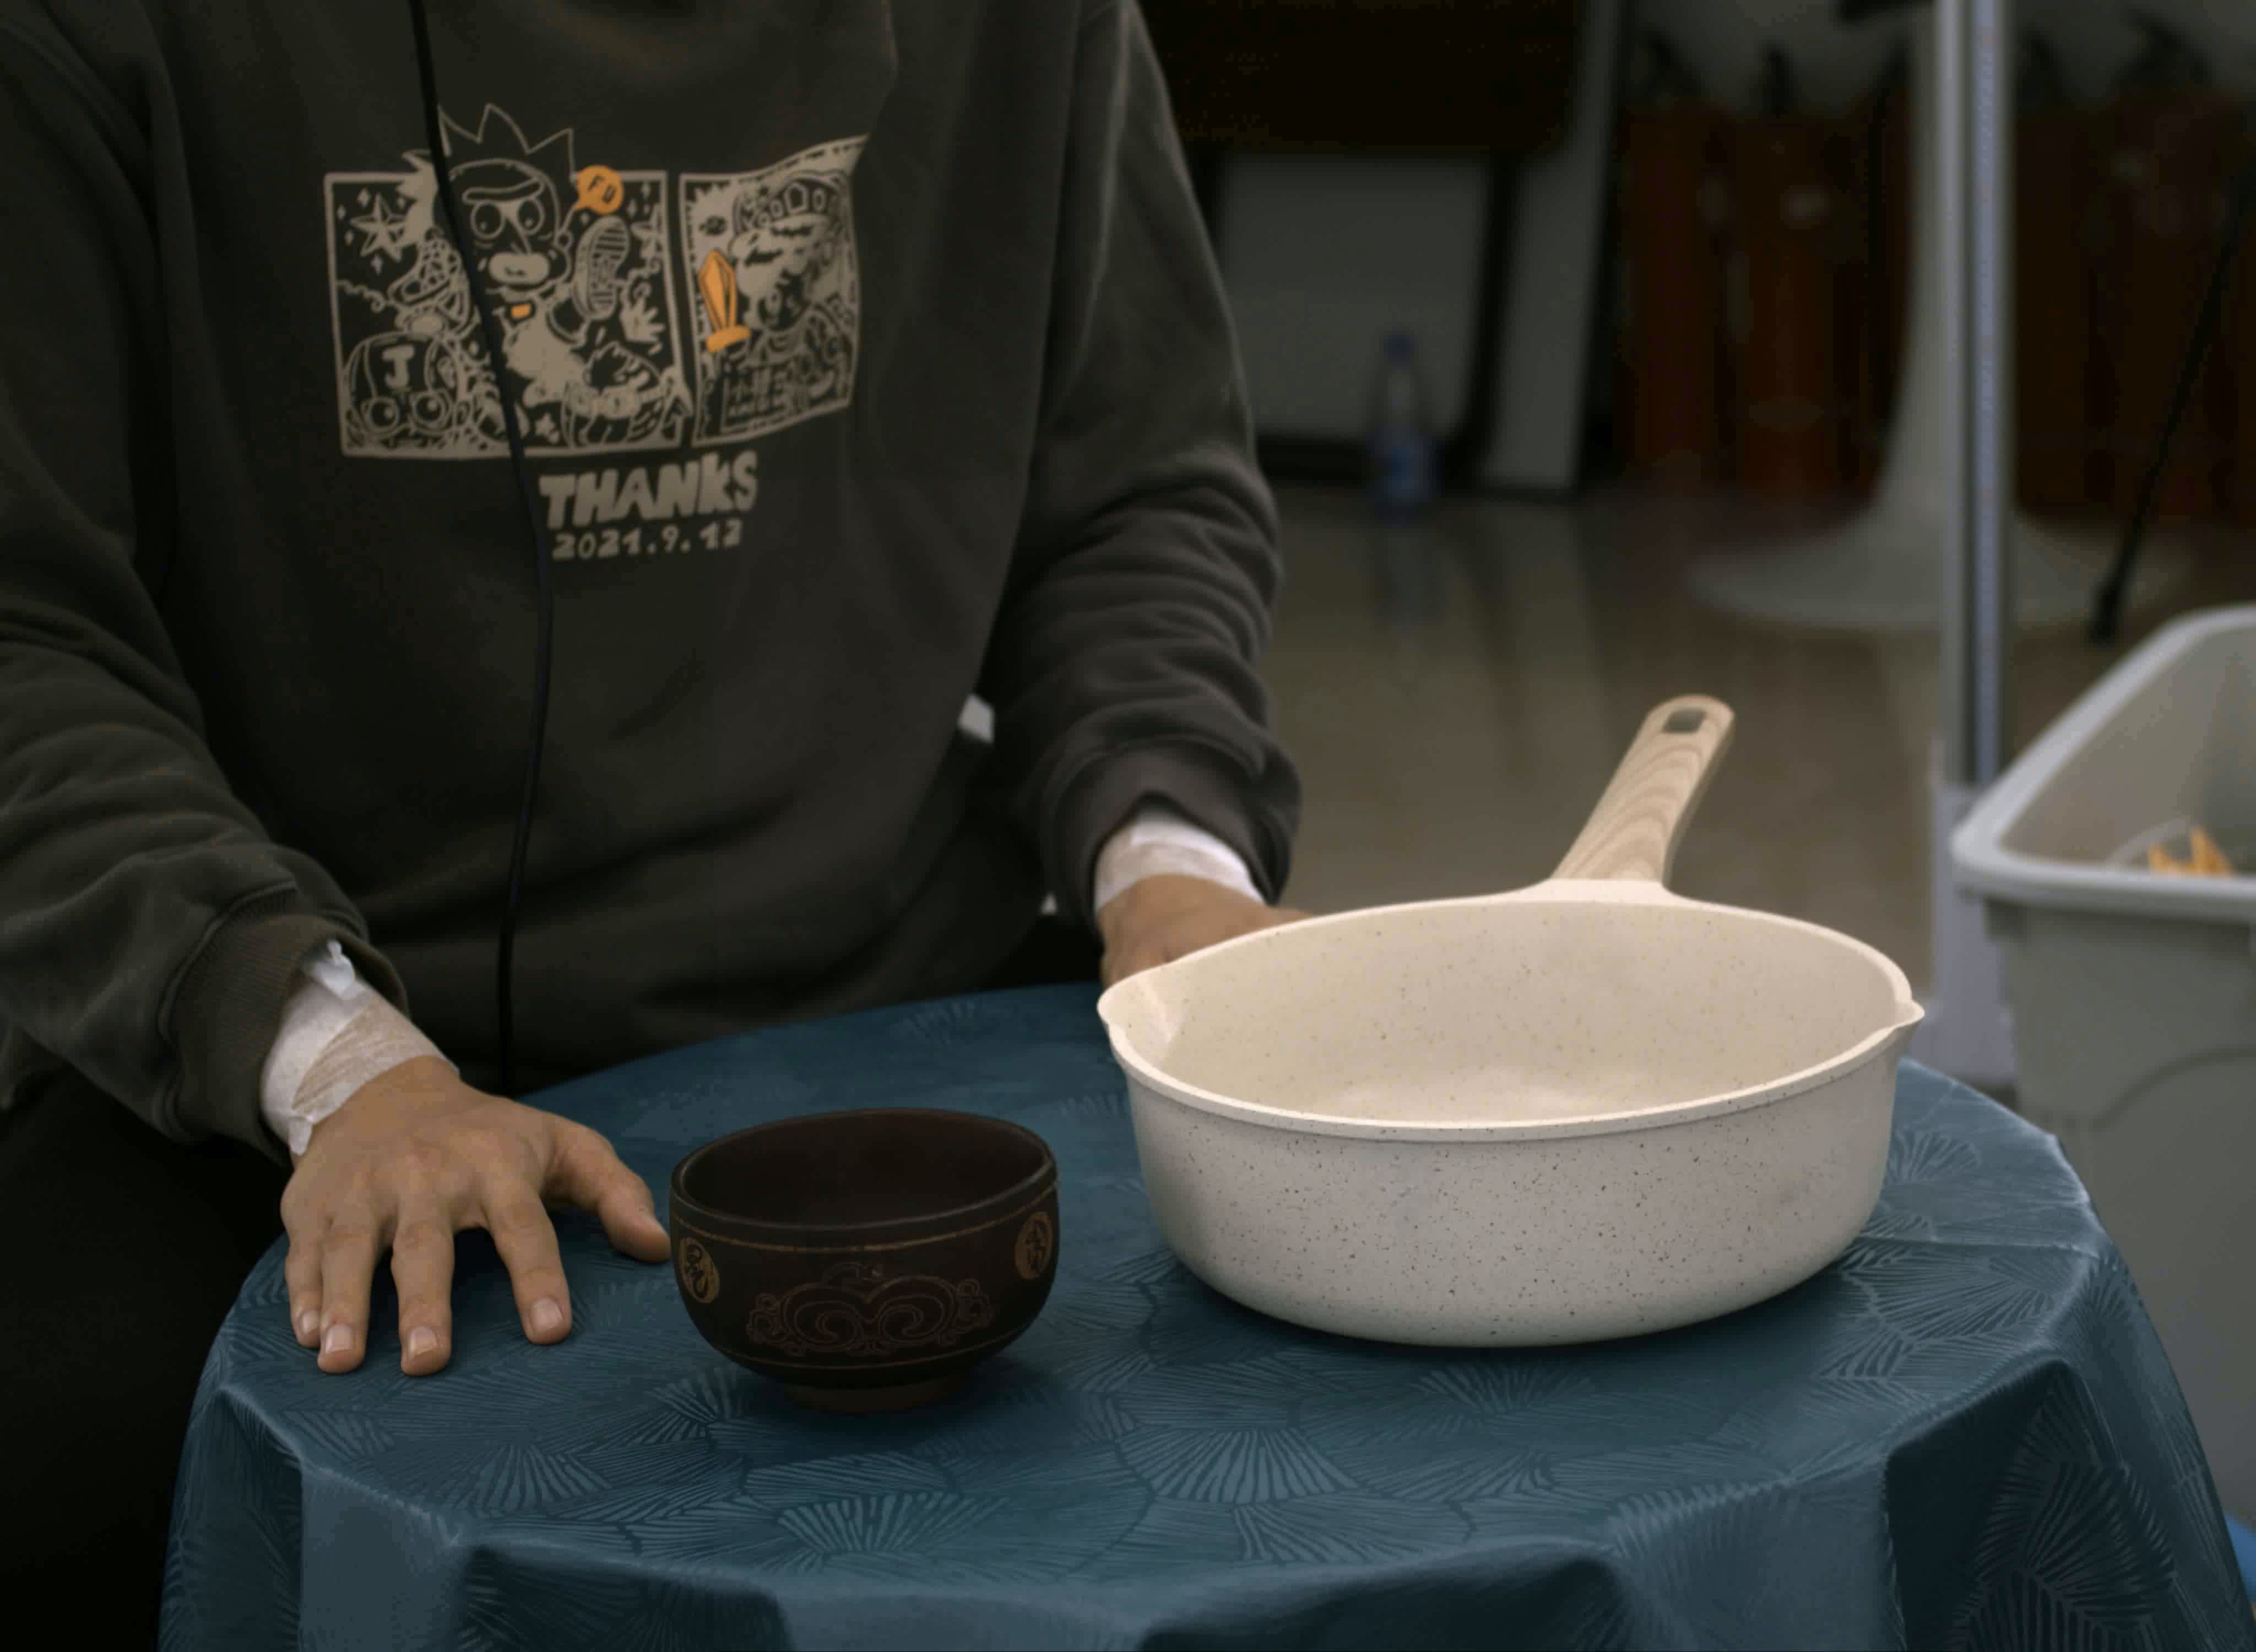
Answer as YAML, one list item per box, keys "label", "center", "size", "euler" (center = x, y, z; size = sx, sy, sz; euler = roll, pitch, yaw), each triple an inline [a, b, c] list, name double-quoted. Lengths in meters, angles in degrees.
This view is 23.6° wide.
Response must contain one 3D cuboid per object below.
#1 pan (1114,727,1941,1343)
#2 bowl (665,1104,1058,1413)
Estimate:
- label: "pan"
  center: [0.151, 0.065, 1.760]
  size: [0.263, 0.103, 0.431]
  euler: [-2, 13, 18]
- label: "bowl"
  center: [-0.077, 0.132, 1.602]
  size: [0.116, 0.070, 0.118]
  euler: [-5, 13, 0]
